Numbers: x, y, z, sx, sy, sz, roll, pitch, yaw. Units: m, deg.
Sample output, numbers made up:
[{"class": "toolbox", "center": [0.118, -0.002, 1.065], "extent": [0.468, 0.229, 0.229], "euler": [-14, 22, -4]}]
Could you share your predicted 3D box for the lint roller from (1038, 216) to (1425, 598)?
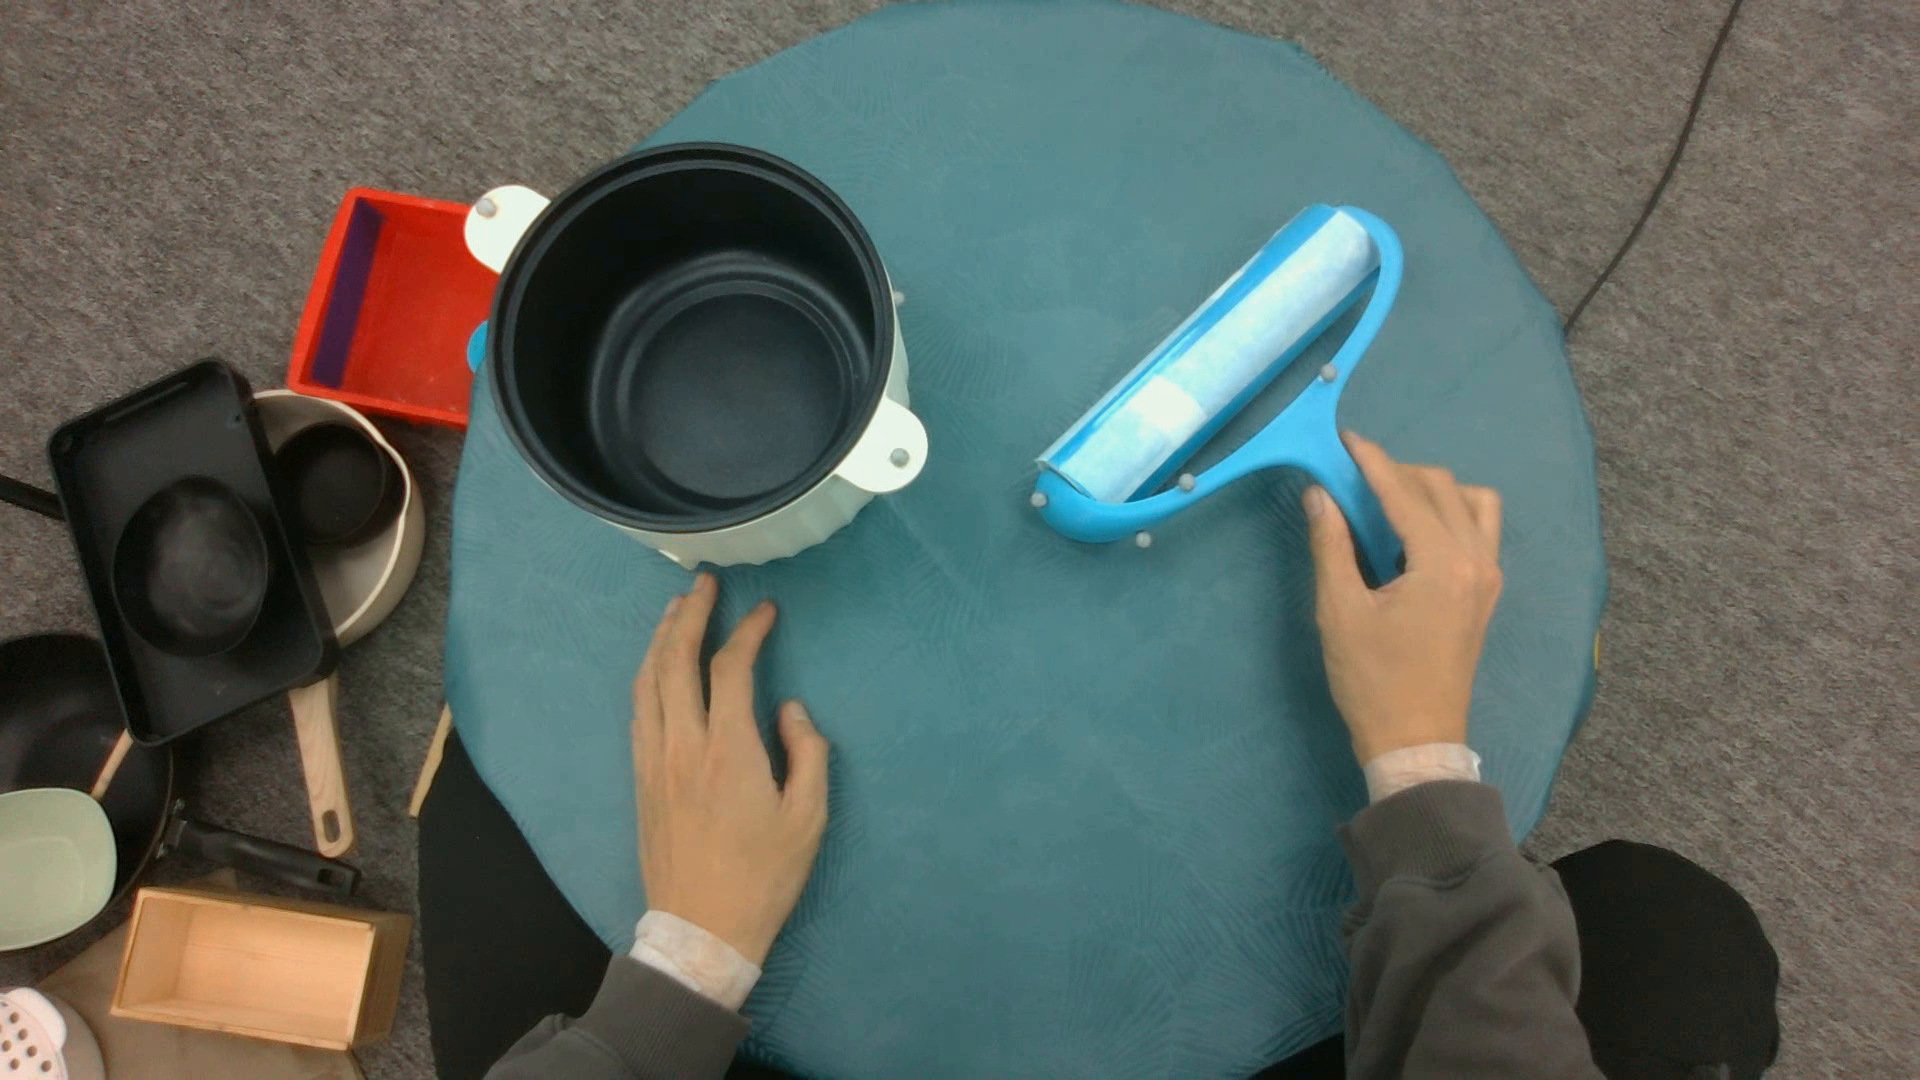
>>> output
[{"class": "lint roller", "center": [0.171, -0.045, 0.701], "extent": [0.180, 0.068, 0.229], "euler": [43, 83, 13]}]

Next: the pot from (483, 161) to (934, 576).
[{"class": "pot", "center": [-0.111, -0.080, 0.688], "extent": [0.240, 0.142, 0.190], "euler": [30, 85, 8]}]
